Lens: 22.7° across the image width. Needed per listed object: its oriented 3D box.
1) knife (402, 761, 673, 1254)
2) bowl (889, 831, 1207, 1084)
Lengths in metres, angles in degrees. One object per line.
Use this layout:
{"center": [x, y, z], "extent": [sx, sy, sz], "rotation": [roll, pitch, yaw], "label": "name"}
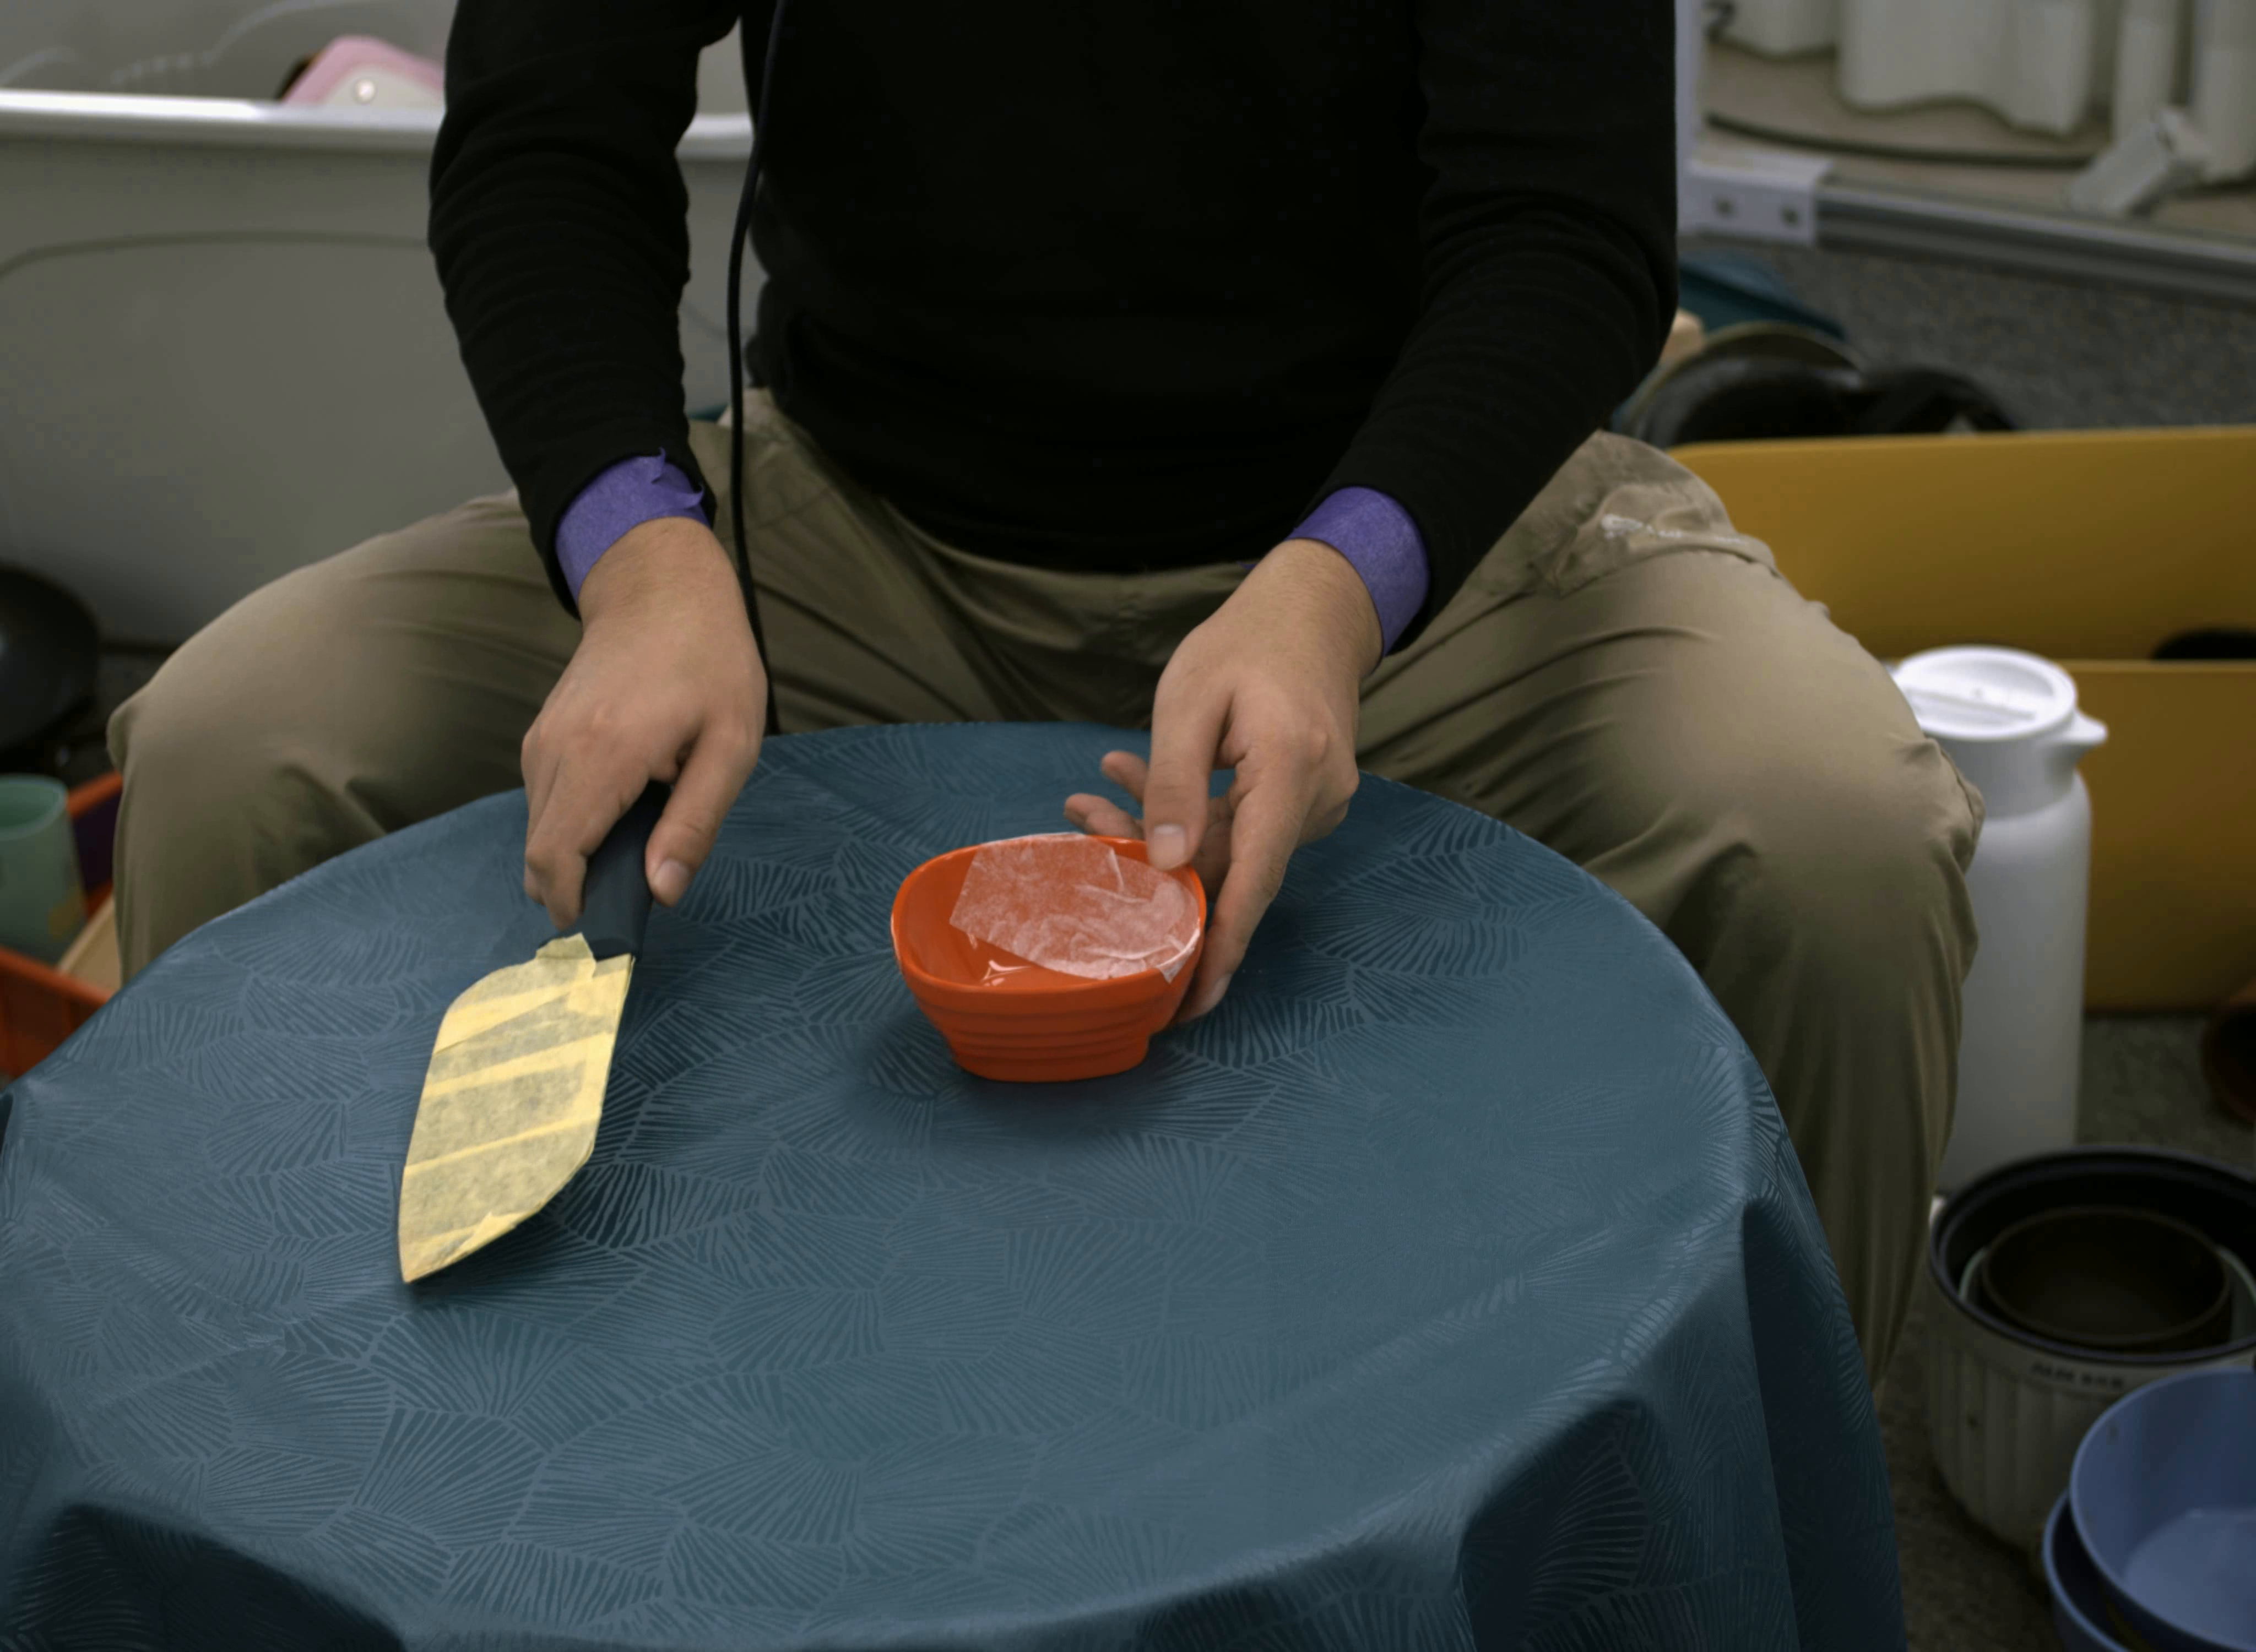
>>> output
{"center": [-0.201, 0.061, 1.934], "extent": [0.080, 0.027, 0.295], "rotation": [-13, 29, 15], "label": "knife"}
{"center": [-0.026, 0.050, 1.943], "extent": [0.118, 0.051, 0.121], "rotation": [-4, 28, 2], "label": "bowl"}
